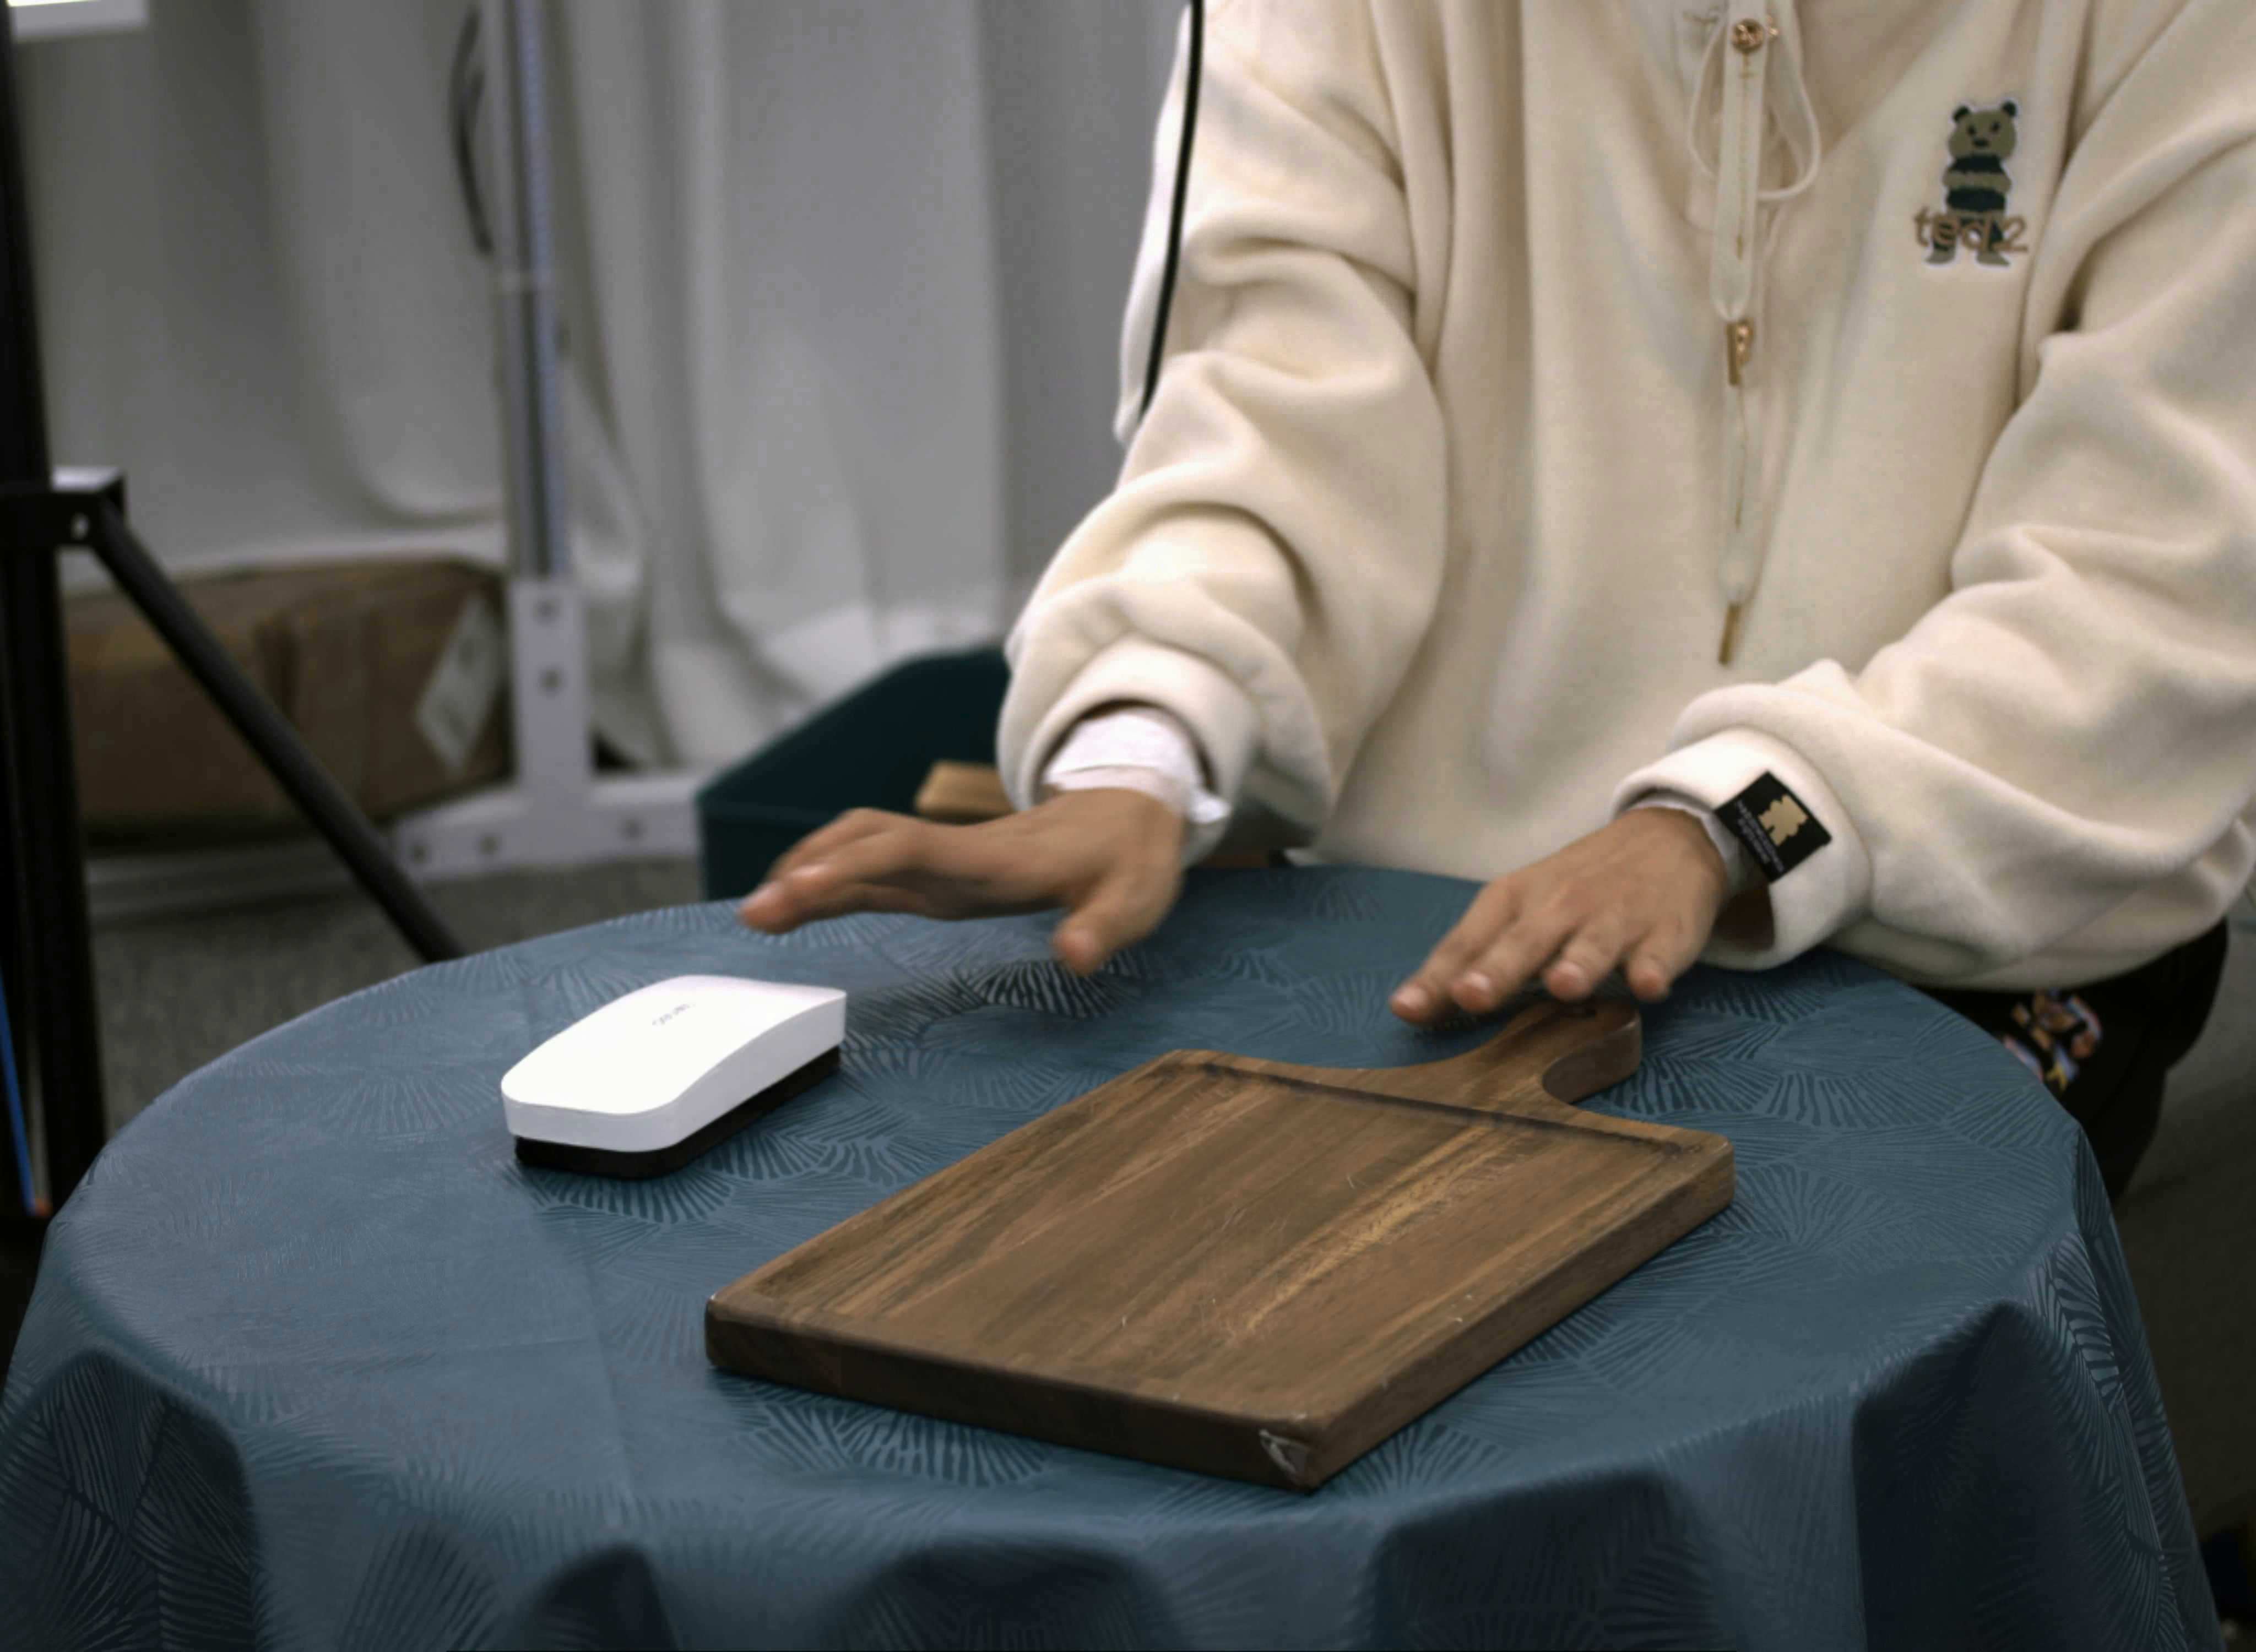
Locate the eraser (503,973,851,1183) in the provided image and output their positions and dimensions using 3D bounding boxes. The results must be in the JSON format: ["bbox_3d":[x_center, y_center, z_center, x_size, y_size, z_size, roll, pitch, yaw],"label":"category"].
[{"bbox_3d":[-0.136,0.074,1.645,0.064,0.034,0.129,5,18,28],"label":"eraser"}]

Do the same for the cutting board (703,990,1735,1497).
[{"bbox_3d":[0.056,0.106,1.517,0.205,0.023,0.345,8,19,32],"label":"cutting board"}]
